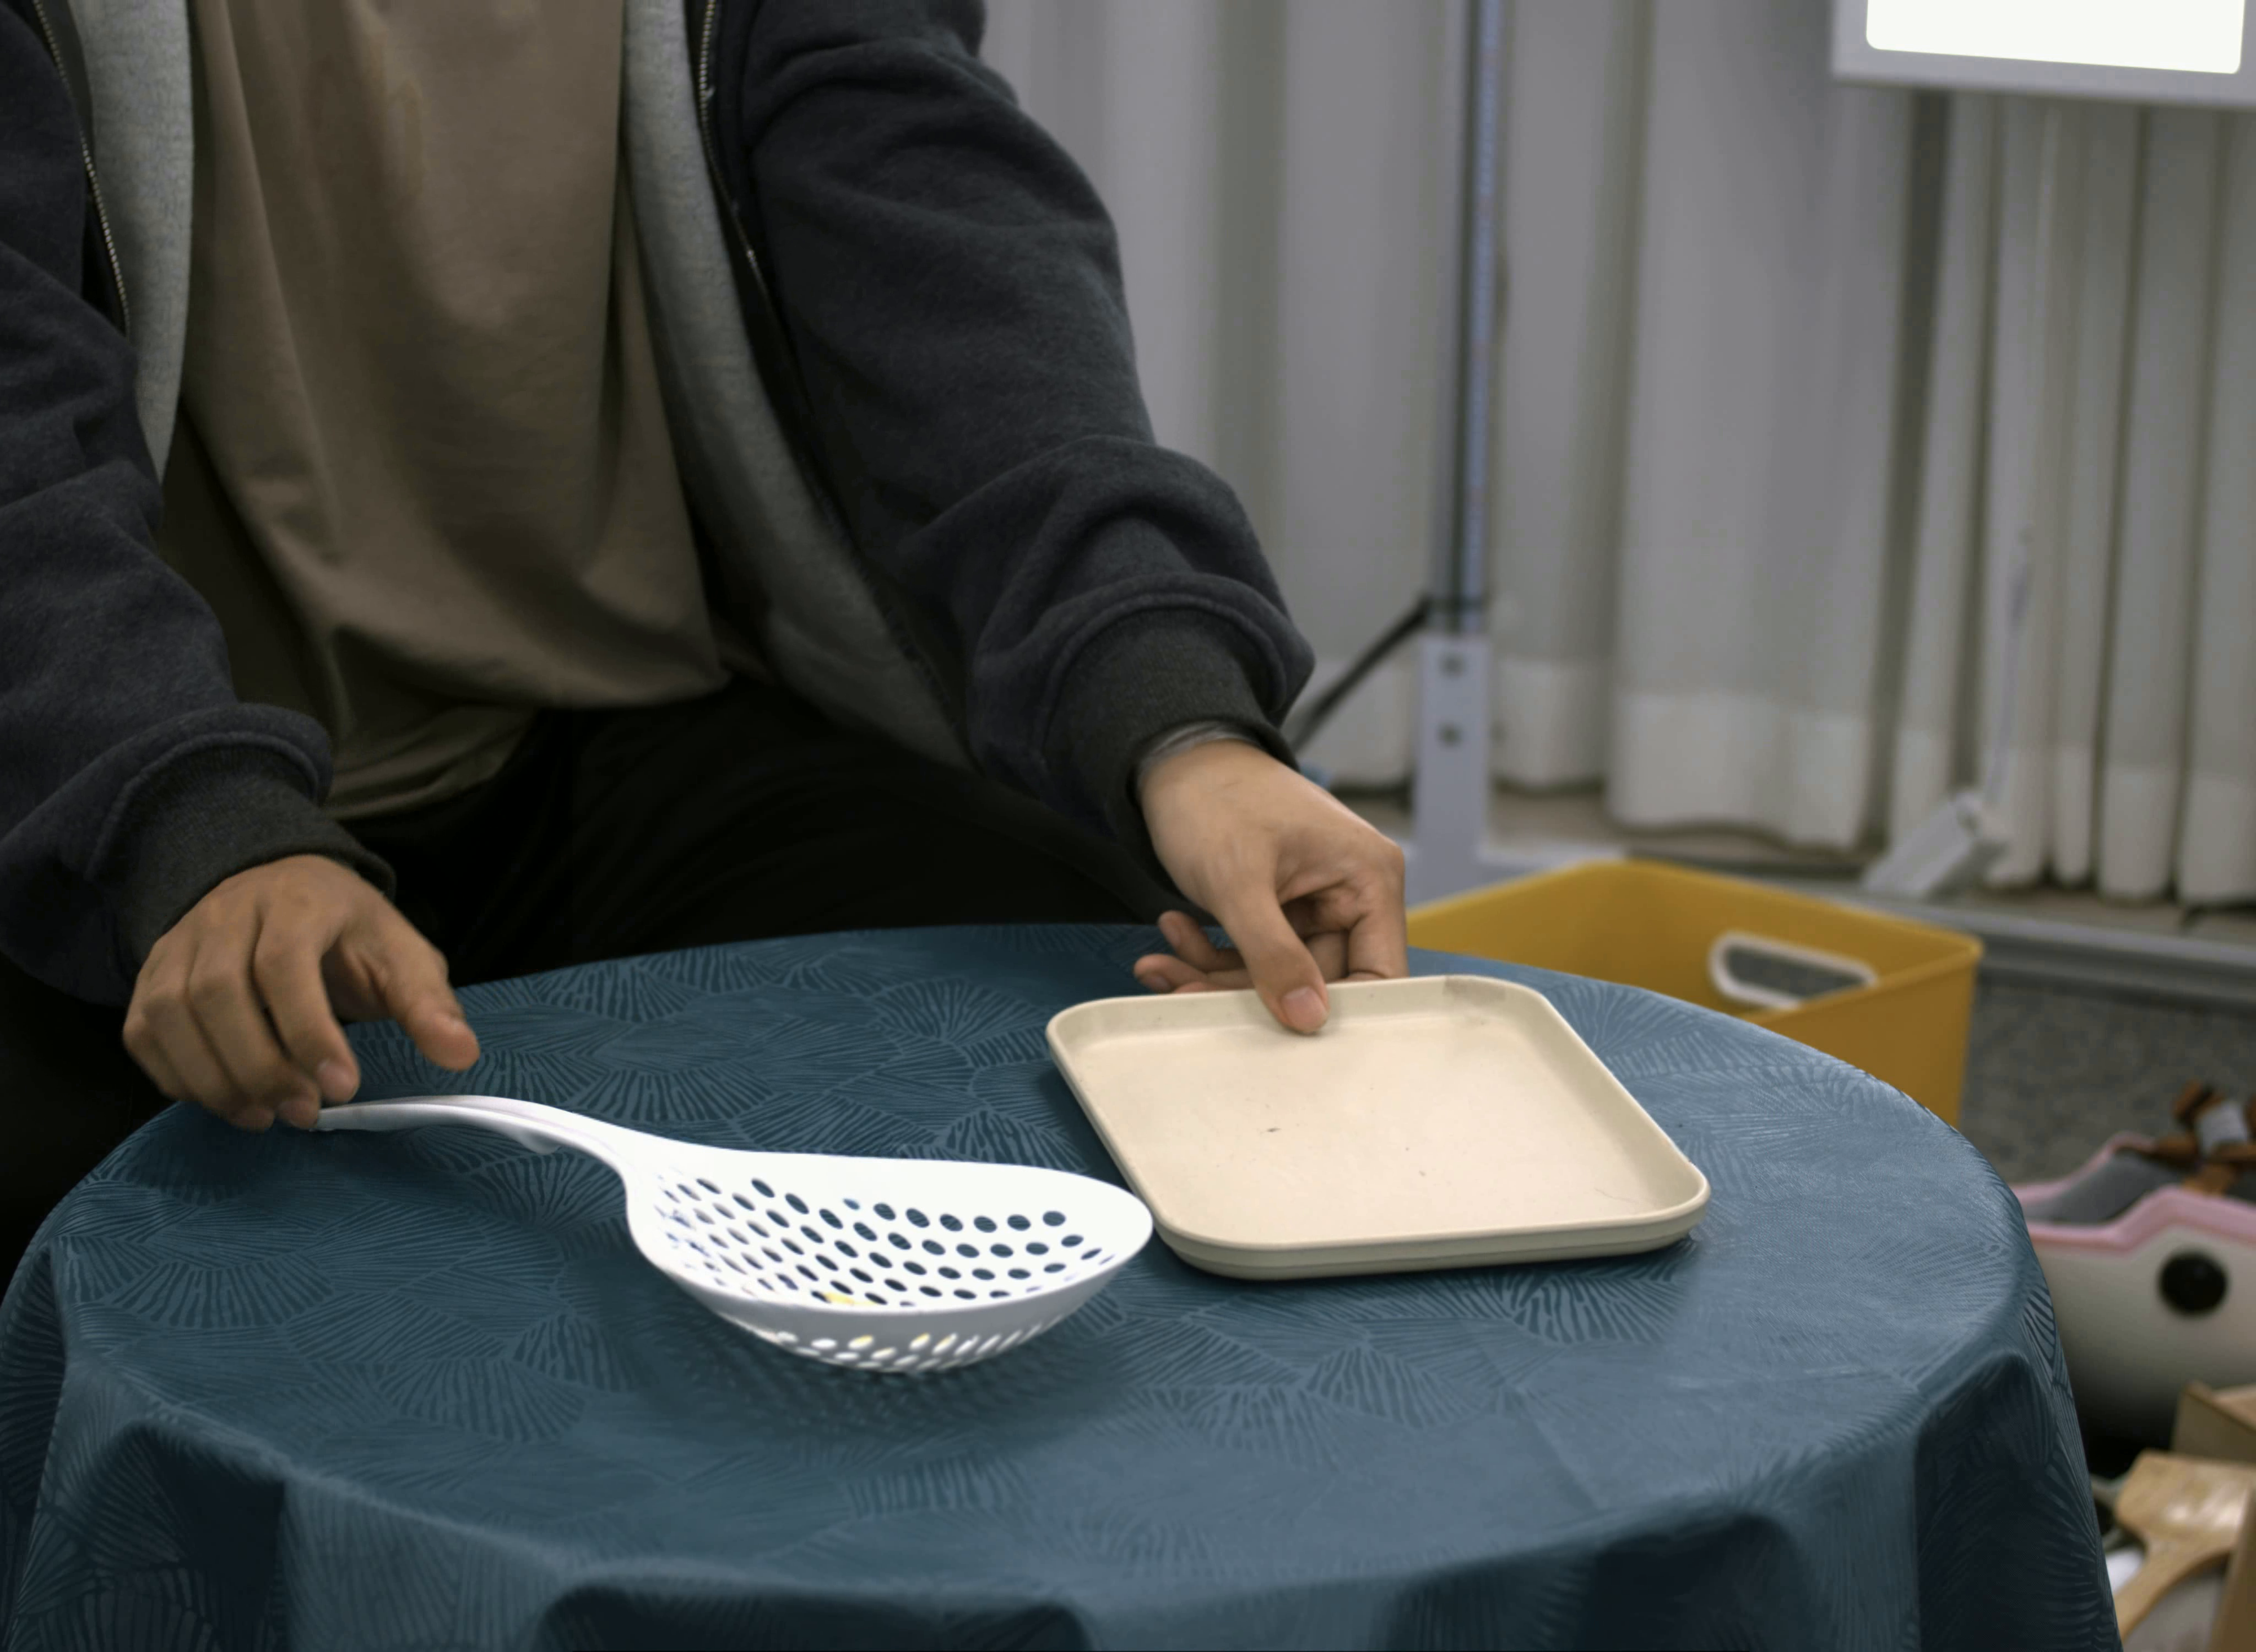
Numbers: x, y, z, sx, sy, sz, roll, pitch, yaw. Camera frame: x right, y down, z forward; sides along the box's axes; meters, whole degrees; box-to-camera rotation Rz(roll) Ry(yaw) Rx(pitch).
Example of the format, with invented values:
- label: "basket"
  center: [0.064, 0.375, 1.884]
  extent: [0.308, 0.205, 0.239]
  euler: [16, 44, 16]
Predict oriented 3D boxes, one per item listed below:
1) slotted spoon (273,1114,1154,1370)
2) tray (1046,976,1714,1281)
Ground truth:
- label: "slotted spoon"
  center: [-0.139, 0.109, 1.554]
  extent: [0.343, 0.051, 0.137]
  euler: [14, 24, 42]
- label: "tray"
  center: [0.075, 0.093, 1.657]
  extent: [0.171, 0.017, 0.237]
  euler: [-4, 17, -11]
